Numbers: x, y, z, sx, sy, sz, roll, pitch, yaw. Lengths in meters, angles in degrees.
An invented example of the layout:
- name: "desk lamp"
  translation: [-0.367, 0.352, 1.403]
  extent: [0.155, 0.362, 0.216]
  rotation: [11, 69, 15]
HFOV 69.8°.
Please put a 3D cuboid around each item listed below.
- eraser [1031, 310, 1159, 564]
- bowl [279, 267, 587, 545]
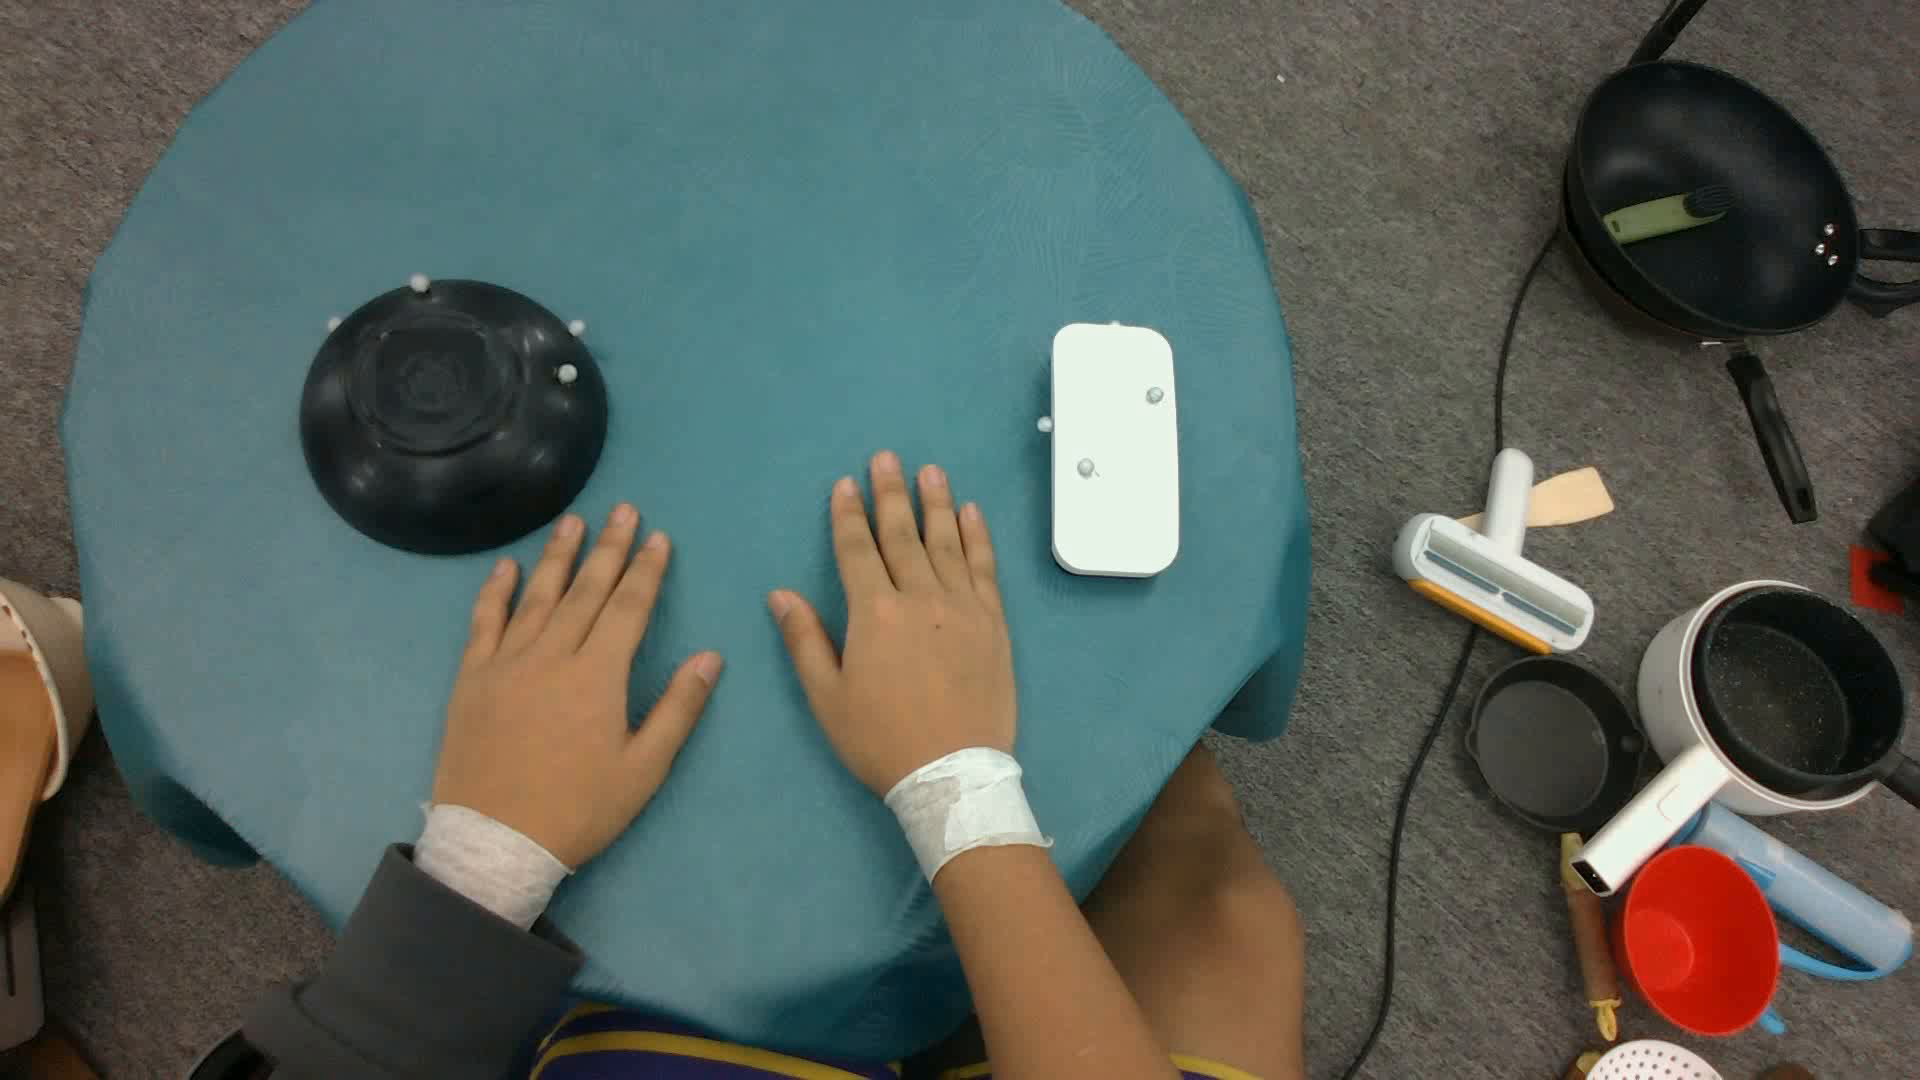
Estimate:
- name: "eraser"
  translation: [0.064, -0.052, 0.682]
  extent: [0.063, 0.034, 0.131]
  rotation: [4, 69, -5]
- name: "bowl"
  translation: [-0.246, -0.071, 0.635]
  extent: [0.140, 0.049, 0.140]
  rotation: [3, 70, -8]
